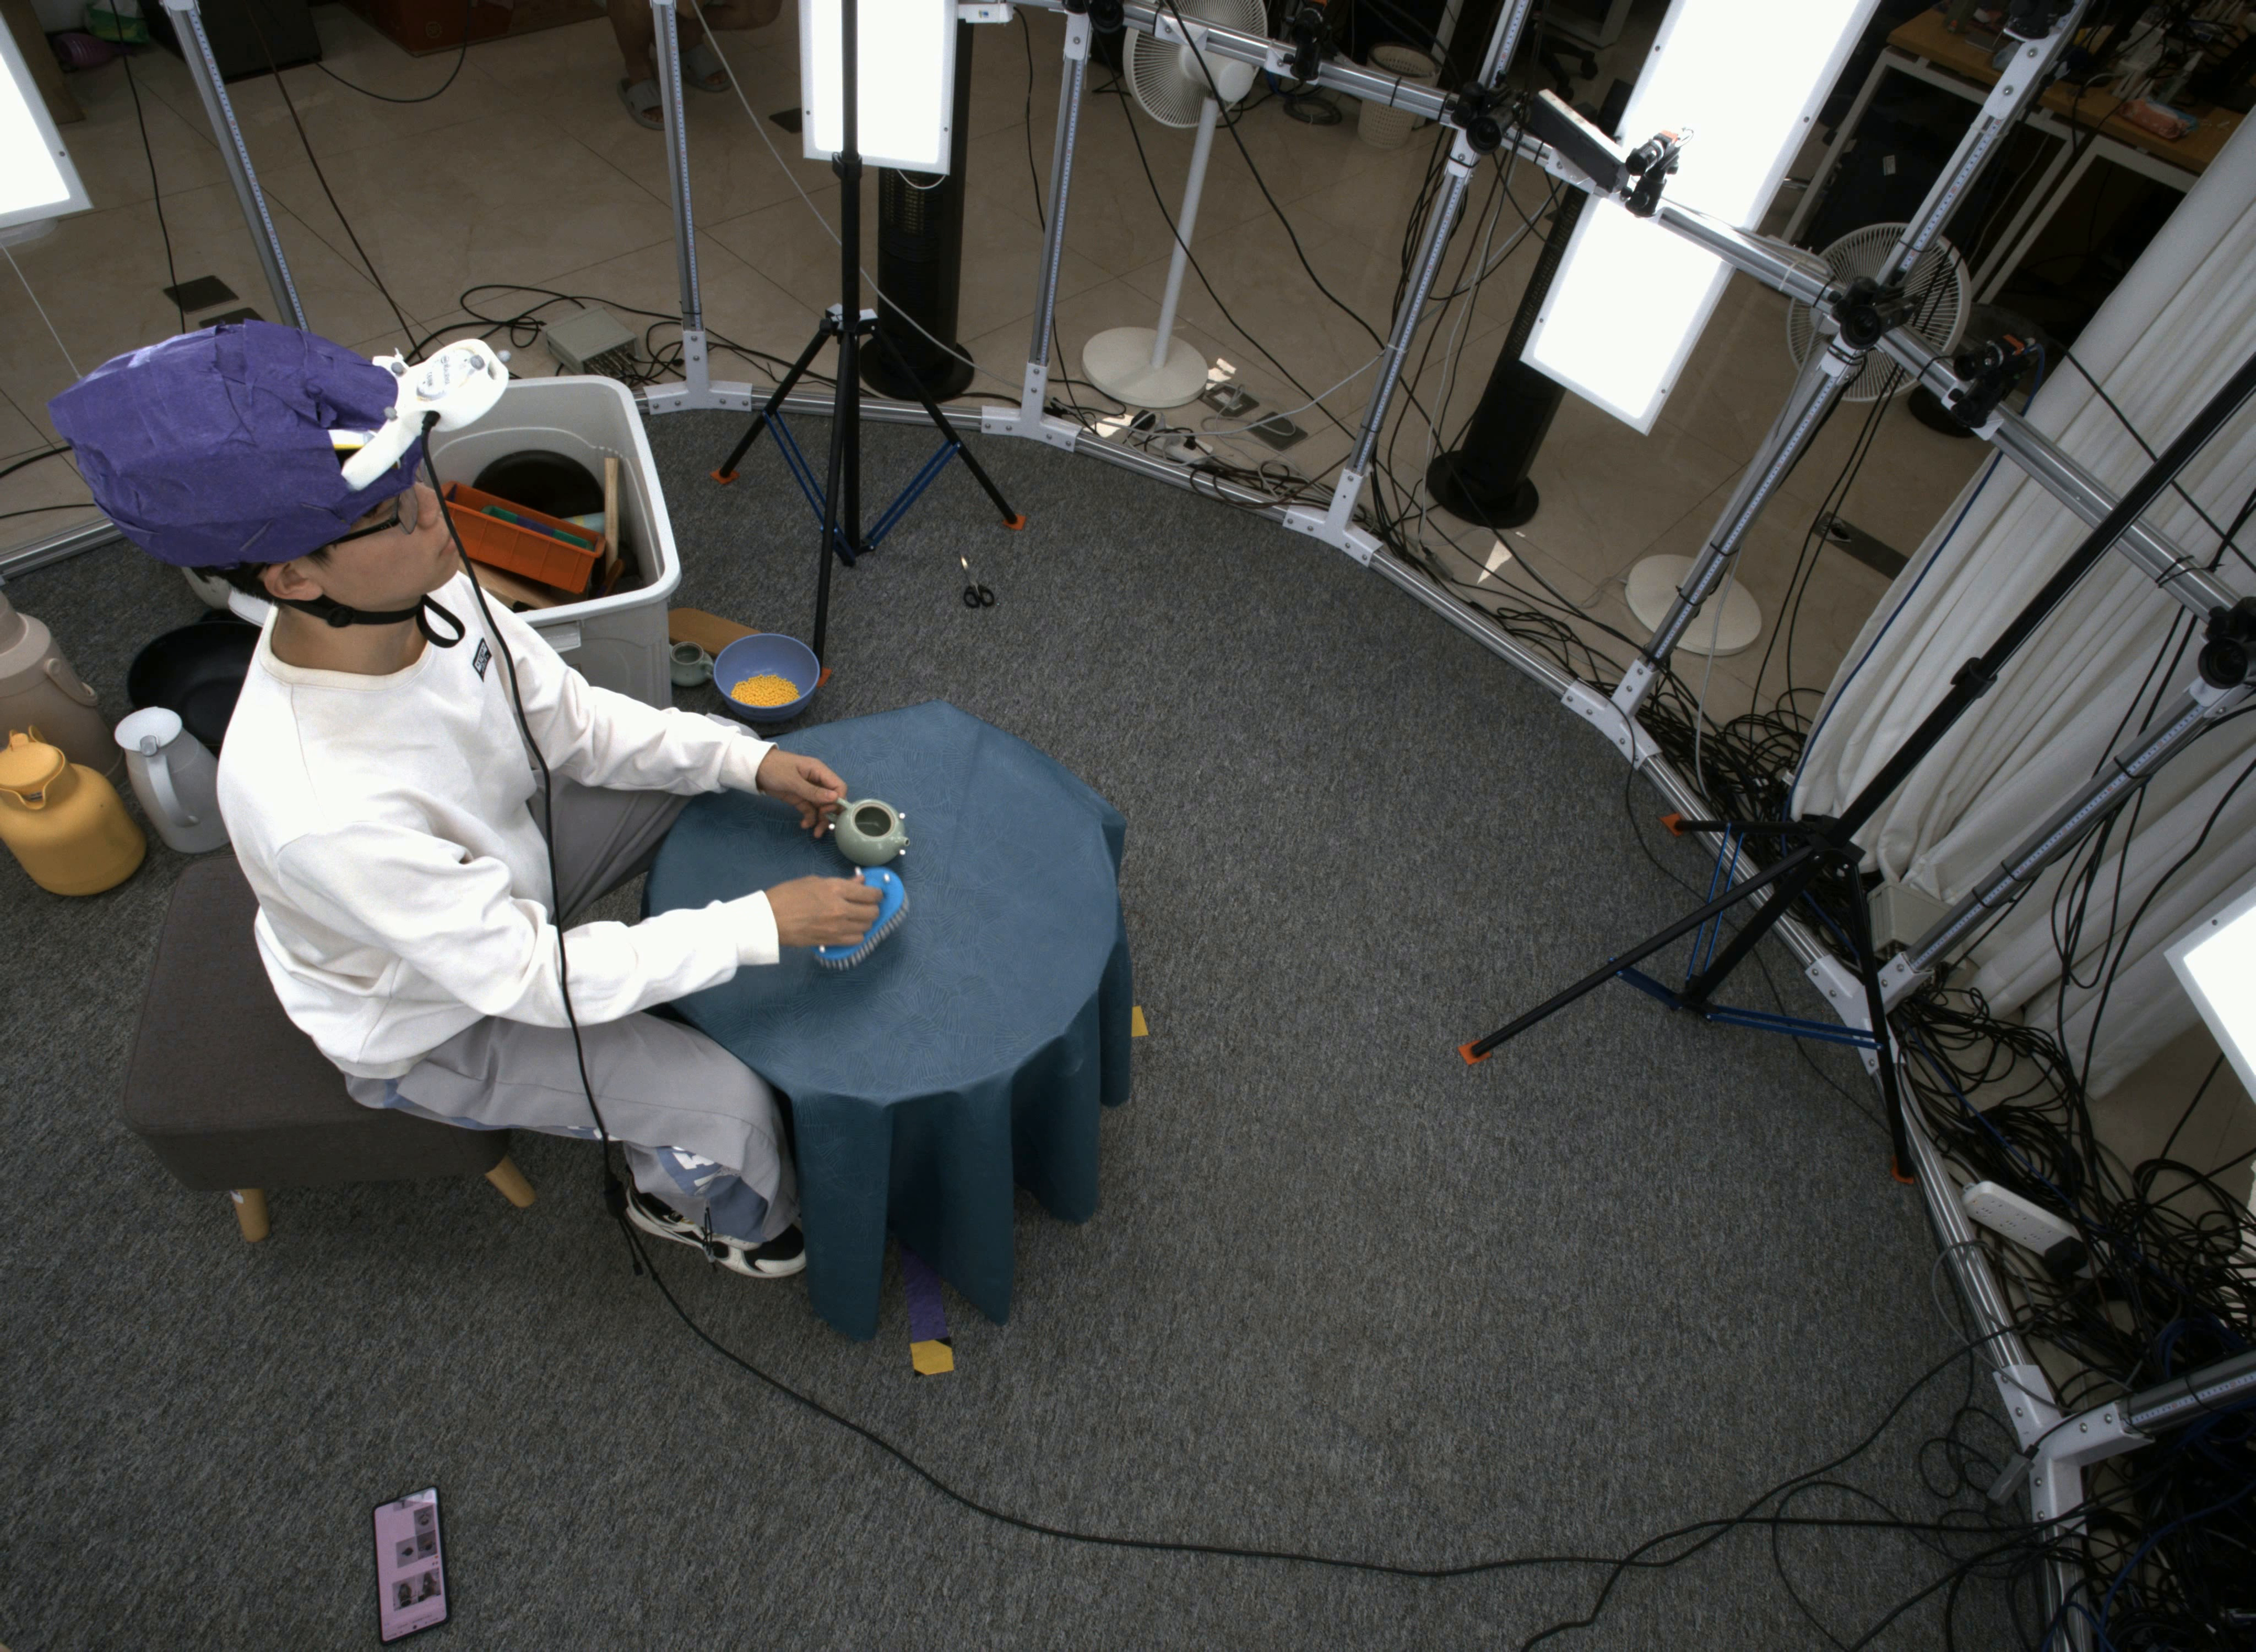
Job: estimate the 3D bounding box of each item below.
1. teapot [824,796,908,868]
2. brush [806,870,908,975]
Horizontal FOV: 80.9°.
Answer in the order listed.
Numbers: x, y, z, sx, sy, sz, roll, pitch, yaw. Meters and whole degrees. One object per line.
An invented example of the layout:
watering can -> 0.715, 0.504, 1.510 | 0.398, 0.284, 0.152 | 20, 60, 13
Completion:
teapot -> -0.346, 0.003, 1.706 | 0.127, 0.061, 0.091 | 34, 54, 3
brush -> -0.330, 0.112, 1.588 | 0.083, 0.065, 0.142 | 38, 69, 13
